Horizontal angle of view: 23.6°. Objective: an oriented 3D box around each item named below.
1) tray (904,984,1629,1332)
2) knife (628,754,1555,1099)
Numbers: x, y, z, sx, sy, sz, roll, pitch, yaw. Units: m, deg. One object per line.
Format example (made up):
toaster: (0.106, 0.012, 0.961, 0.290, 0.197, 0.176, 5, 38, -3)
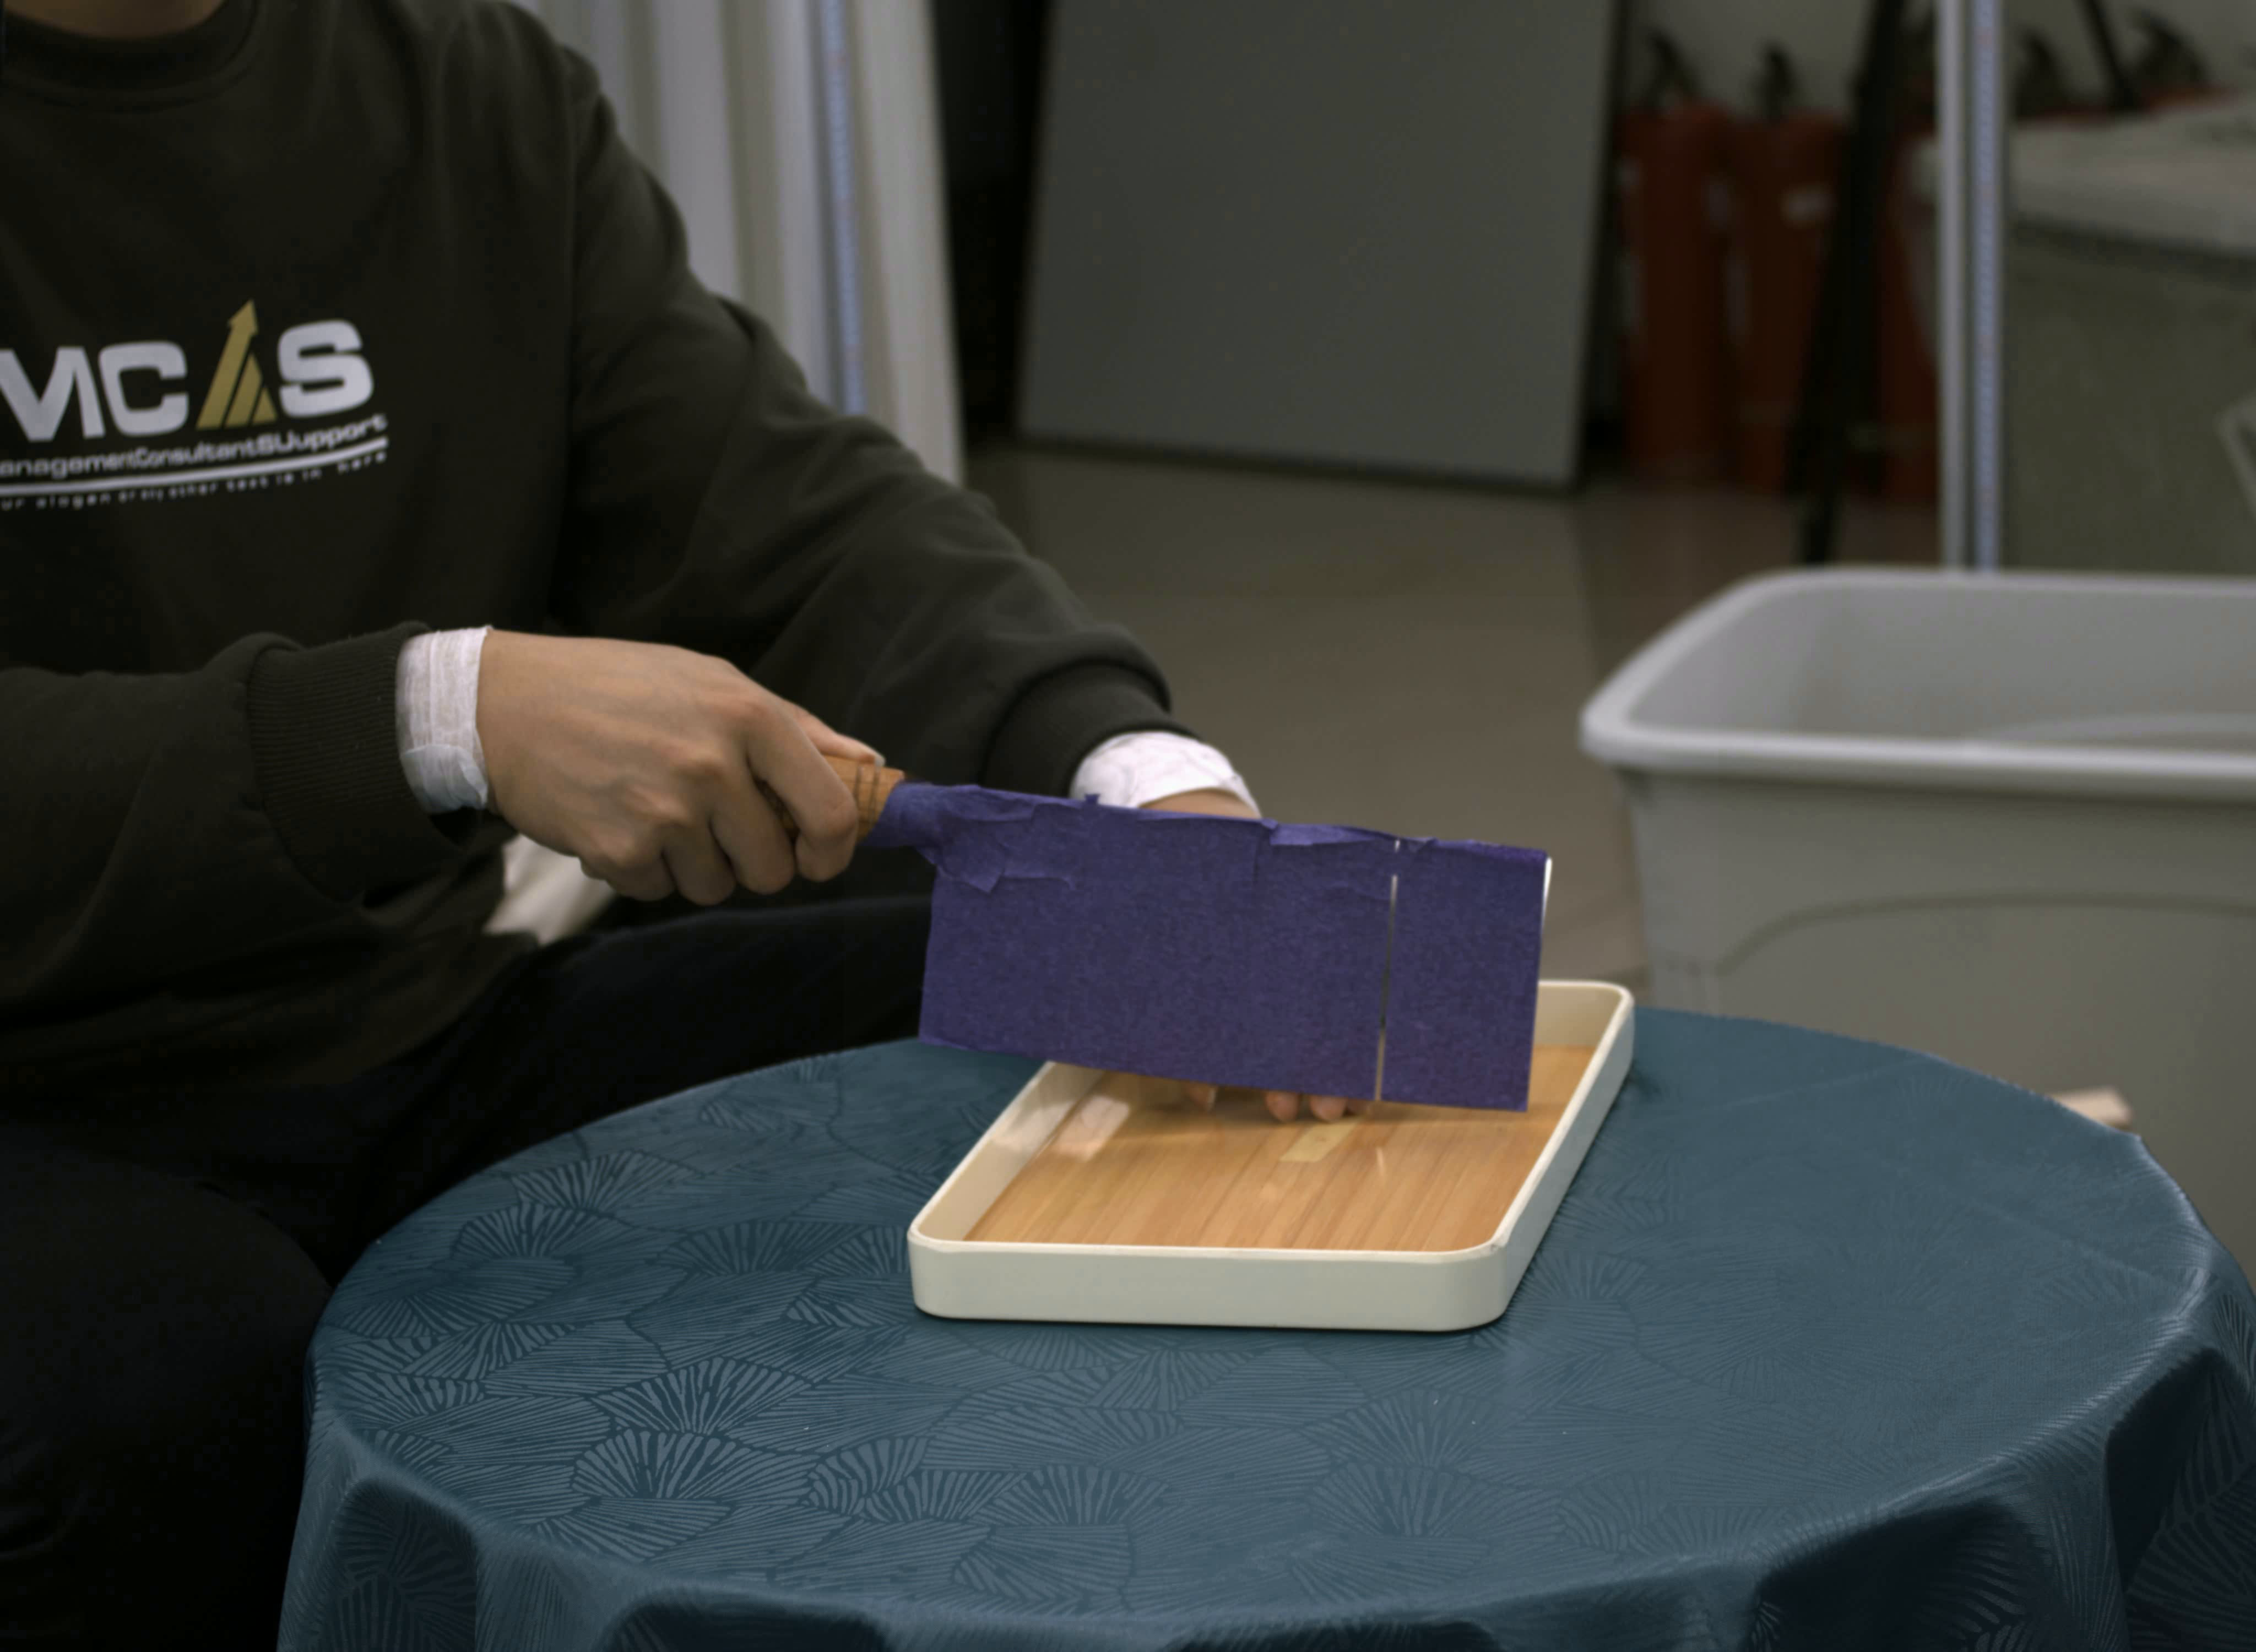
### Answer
tray: (0.053, 0.104, 1.771, 0.191, 0.028, 0.298, 0, 14, 15)
knife: (-0.015, 0.034, 1.800, 0.312, 0.105, 0.032, 5, 4, 5)
